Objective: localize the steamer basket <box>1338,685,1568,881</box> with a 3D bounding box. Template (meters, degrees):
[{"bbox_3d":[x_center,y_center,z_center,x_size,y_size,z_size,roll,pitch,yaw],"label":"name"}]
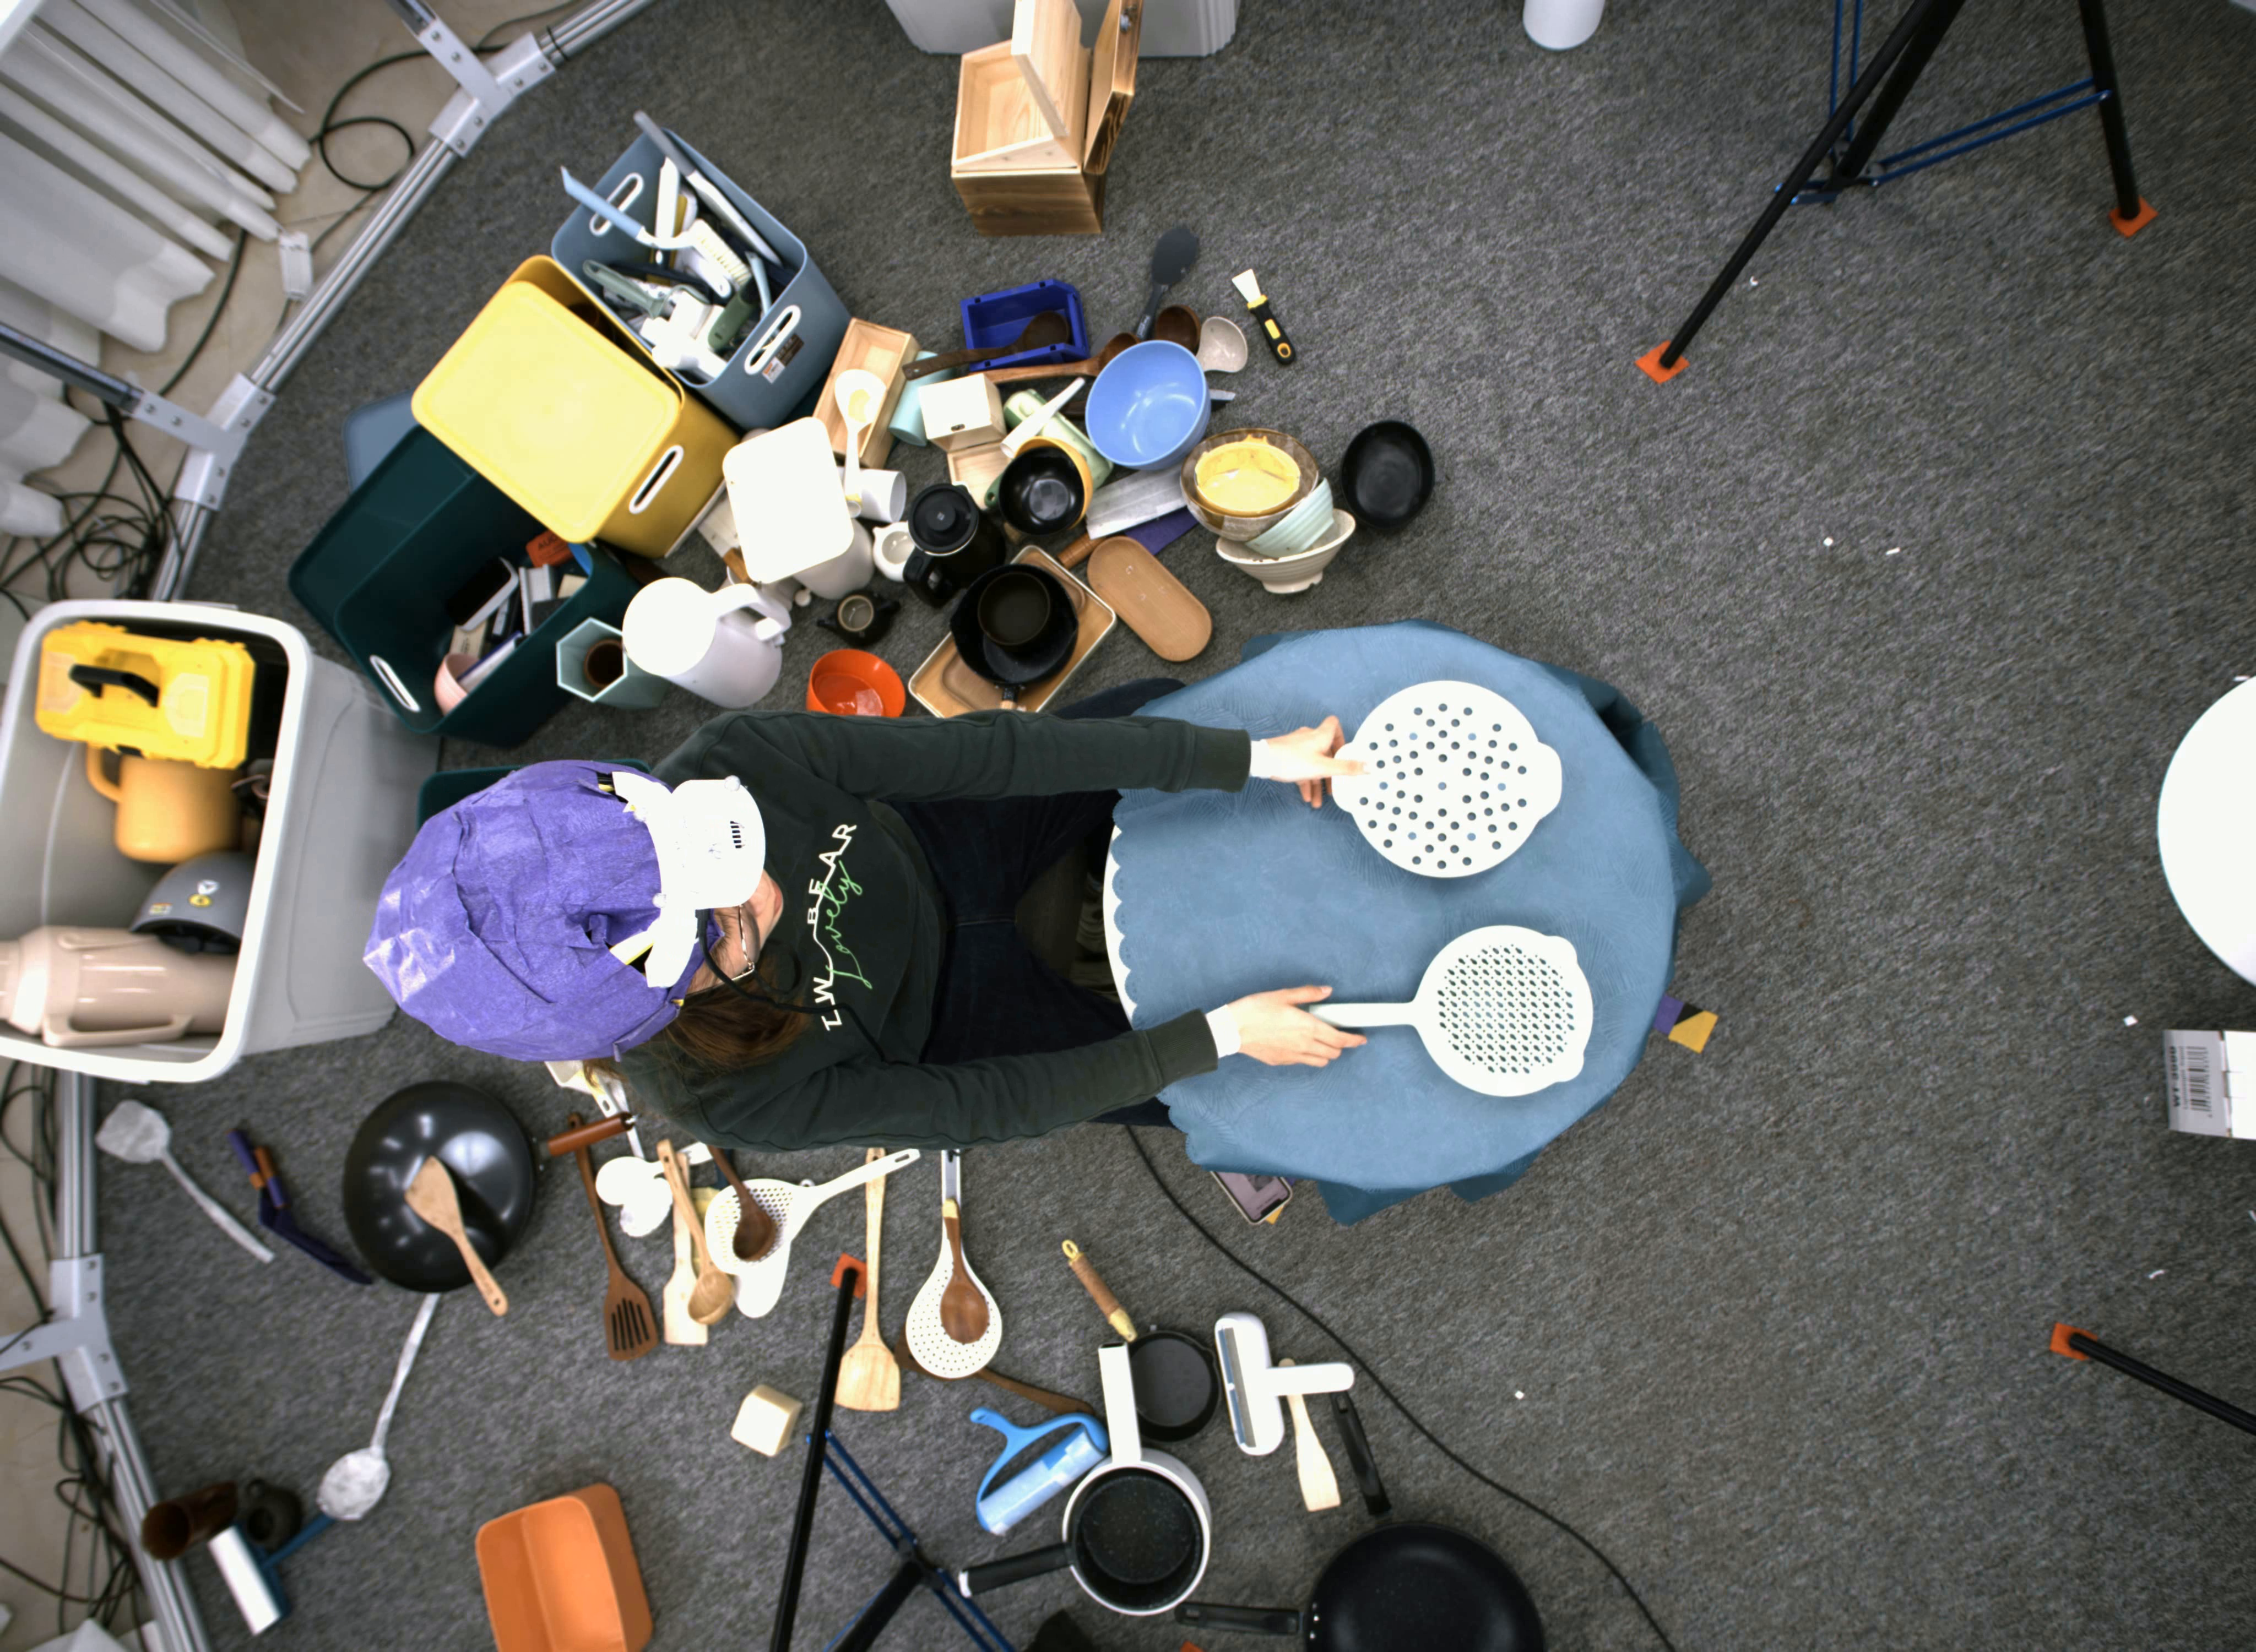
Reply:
[{"bbox_3d":[0.335,-0.044,1.429,0.231,0.069,0.200,0,85,11],"label":"steamer basket"}]

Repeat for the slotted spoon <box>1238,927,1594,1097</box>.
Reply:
[{"bbox_3d":[0.289,0.192,1.420,0.360,0.075,0.168,-3,83,10],"label":"slotted spoon"}]
